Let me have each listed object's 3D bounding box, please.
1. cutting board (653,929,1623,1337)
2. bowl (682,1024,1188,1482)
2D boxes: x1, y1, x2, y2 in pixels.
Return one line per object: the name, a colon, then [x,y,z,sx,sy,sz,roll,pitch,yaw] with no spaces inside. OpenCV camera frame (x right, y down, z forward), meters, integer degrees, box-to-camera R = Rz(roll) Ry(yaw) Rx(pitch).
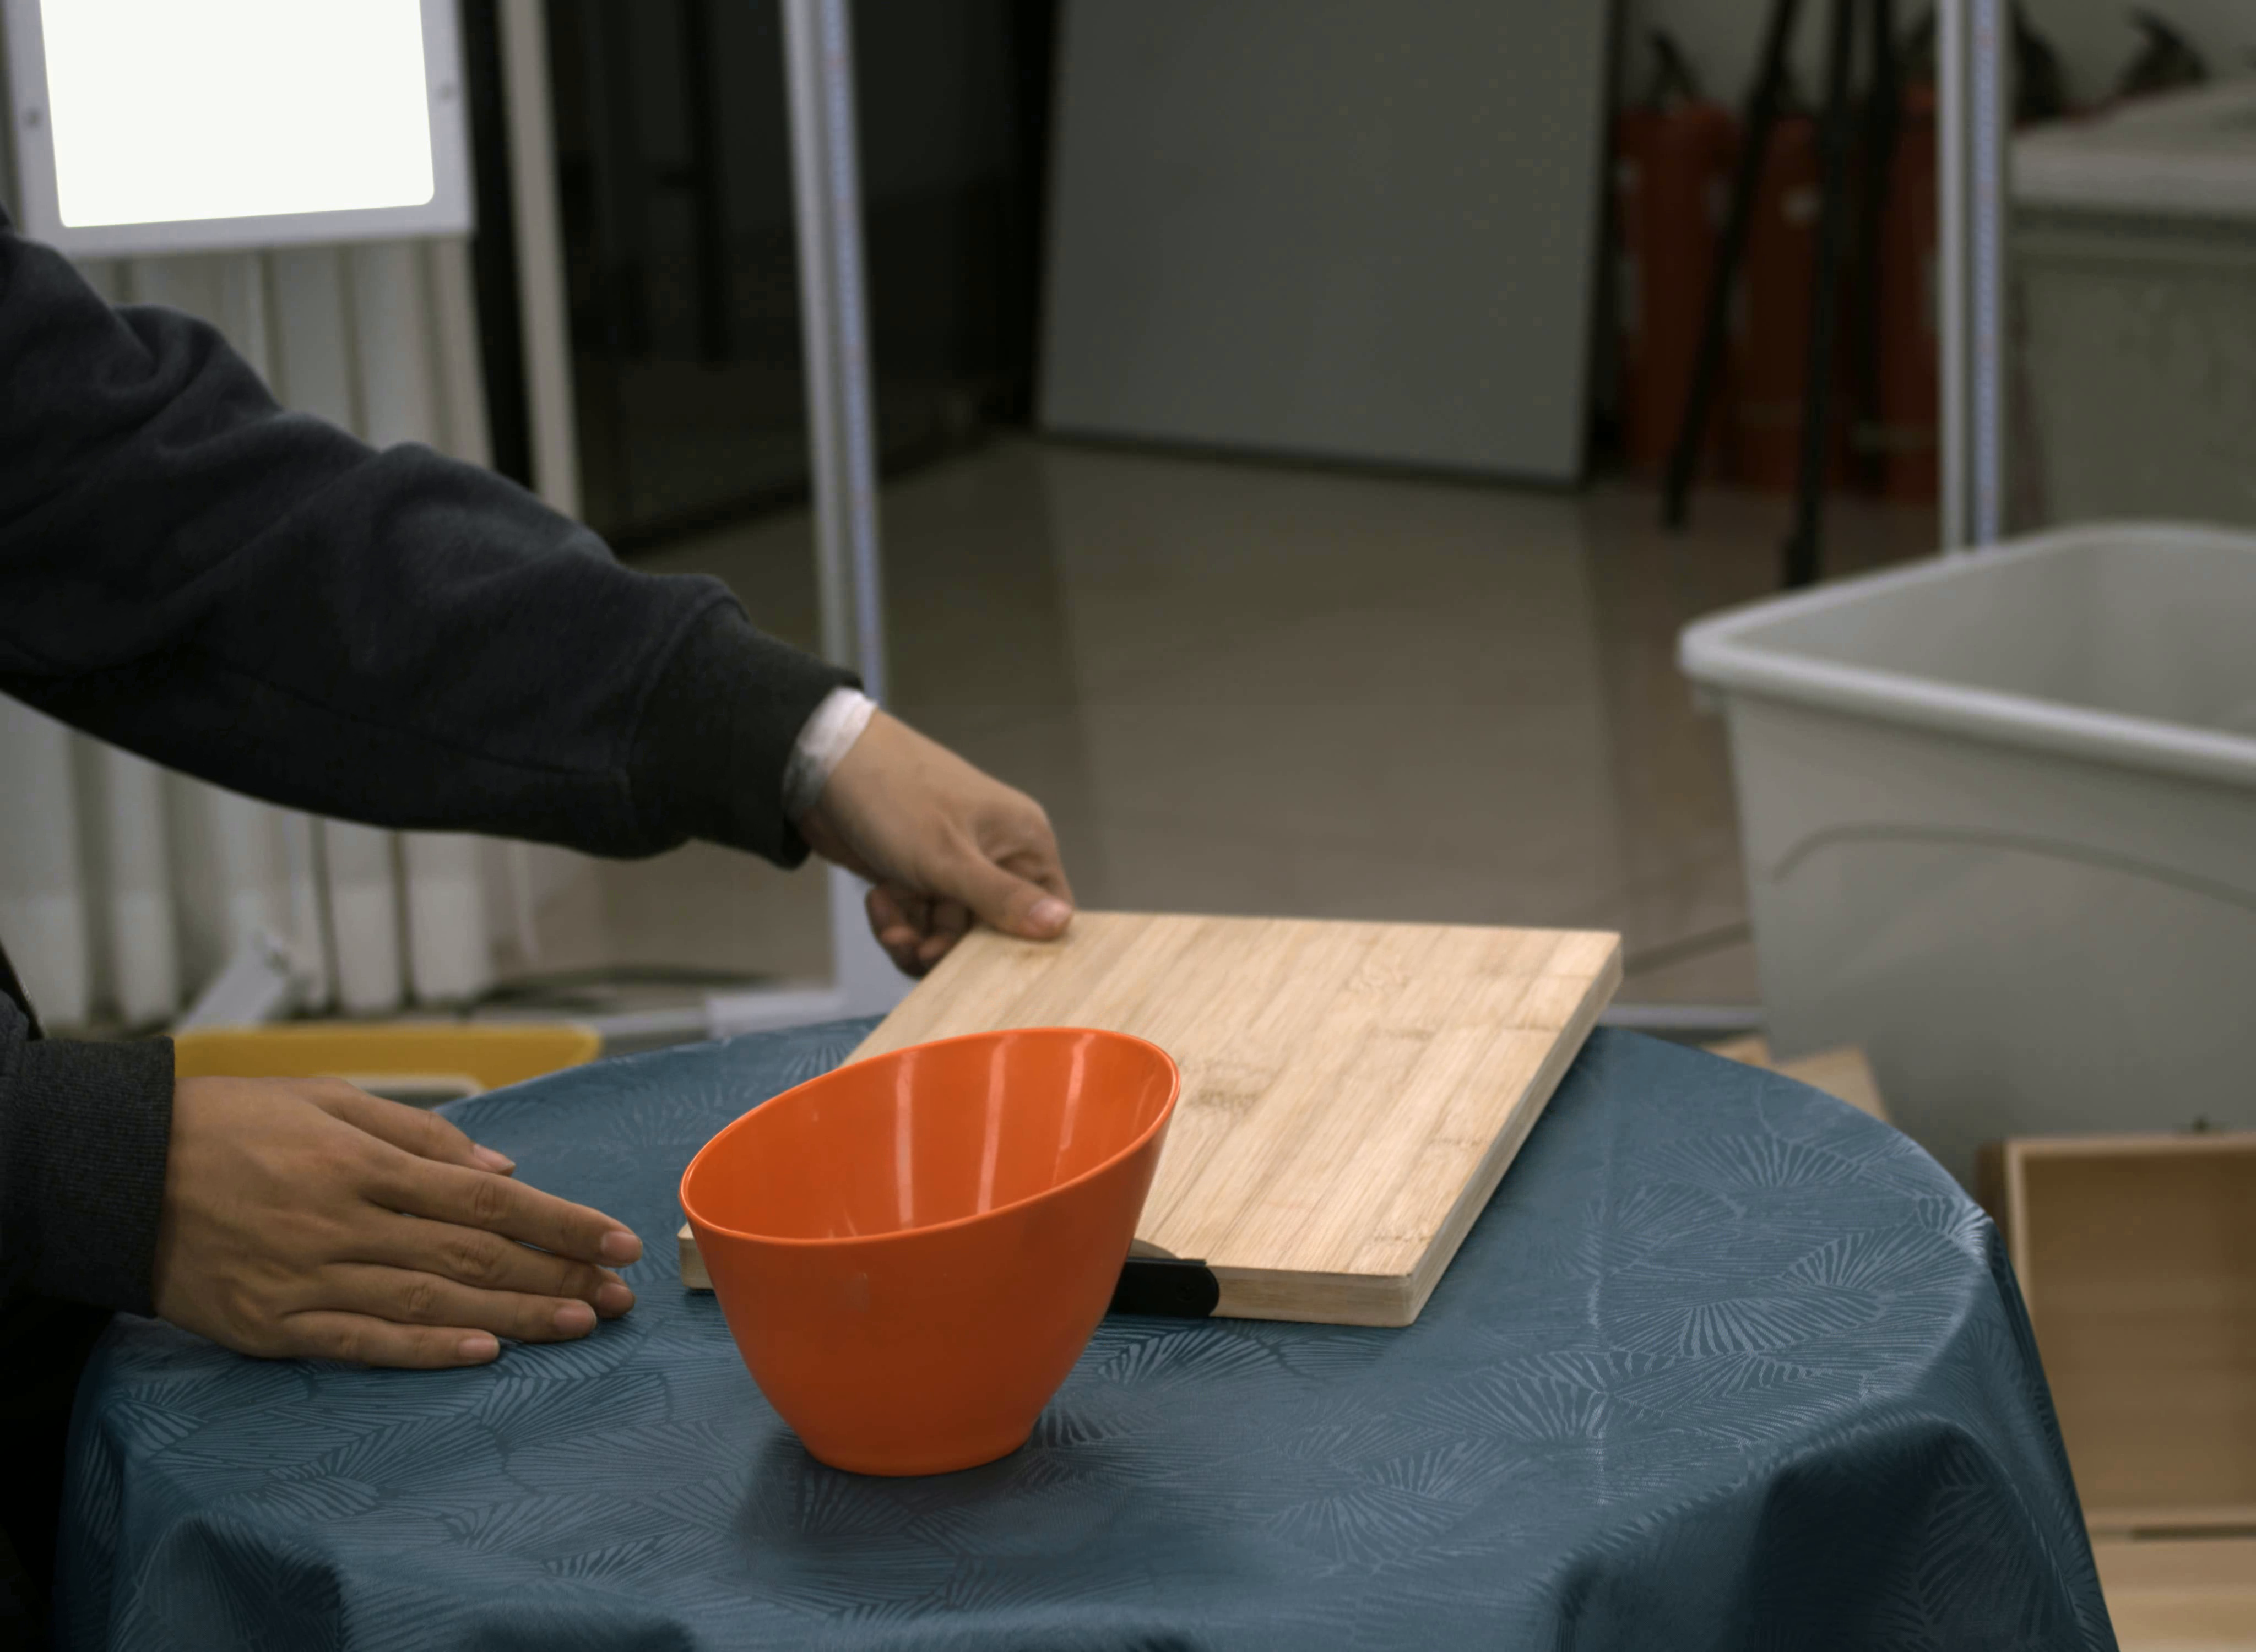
cutting board: [0.015,0.097,1.804,0.250,0.024,0.346,0,16,16]
bowl: [-0.052,0.126,1.549,0.146,0.106,0.148,-3,15,0]
